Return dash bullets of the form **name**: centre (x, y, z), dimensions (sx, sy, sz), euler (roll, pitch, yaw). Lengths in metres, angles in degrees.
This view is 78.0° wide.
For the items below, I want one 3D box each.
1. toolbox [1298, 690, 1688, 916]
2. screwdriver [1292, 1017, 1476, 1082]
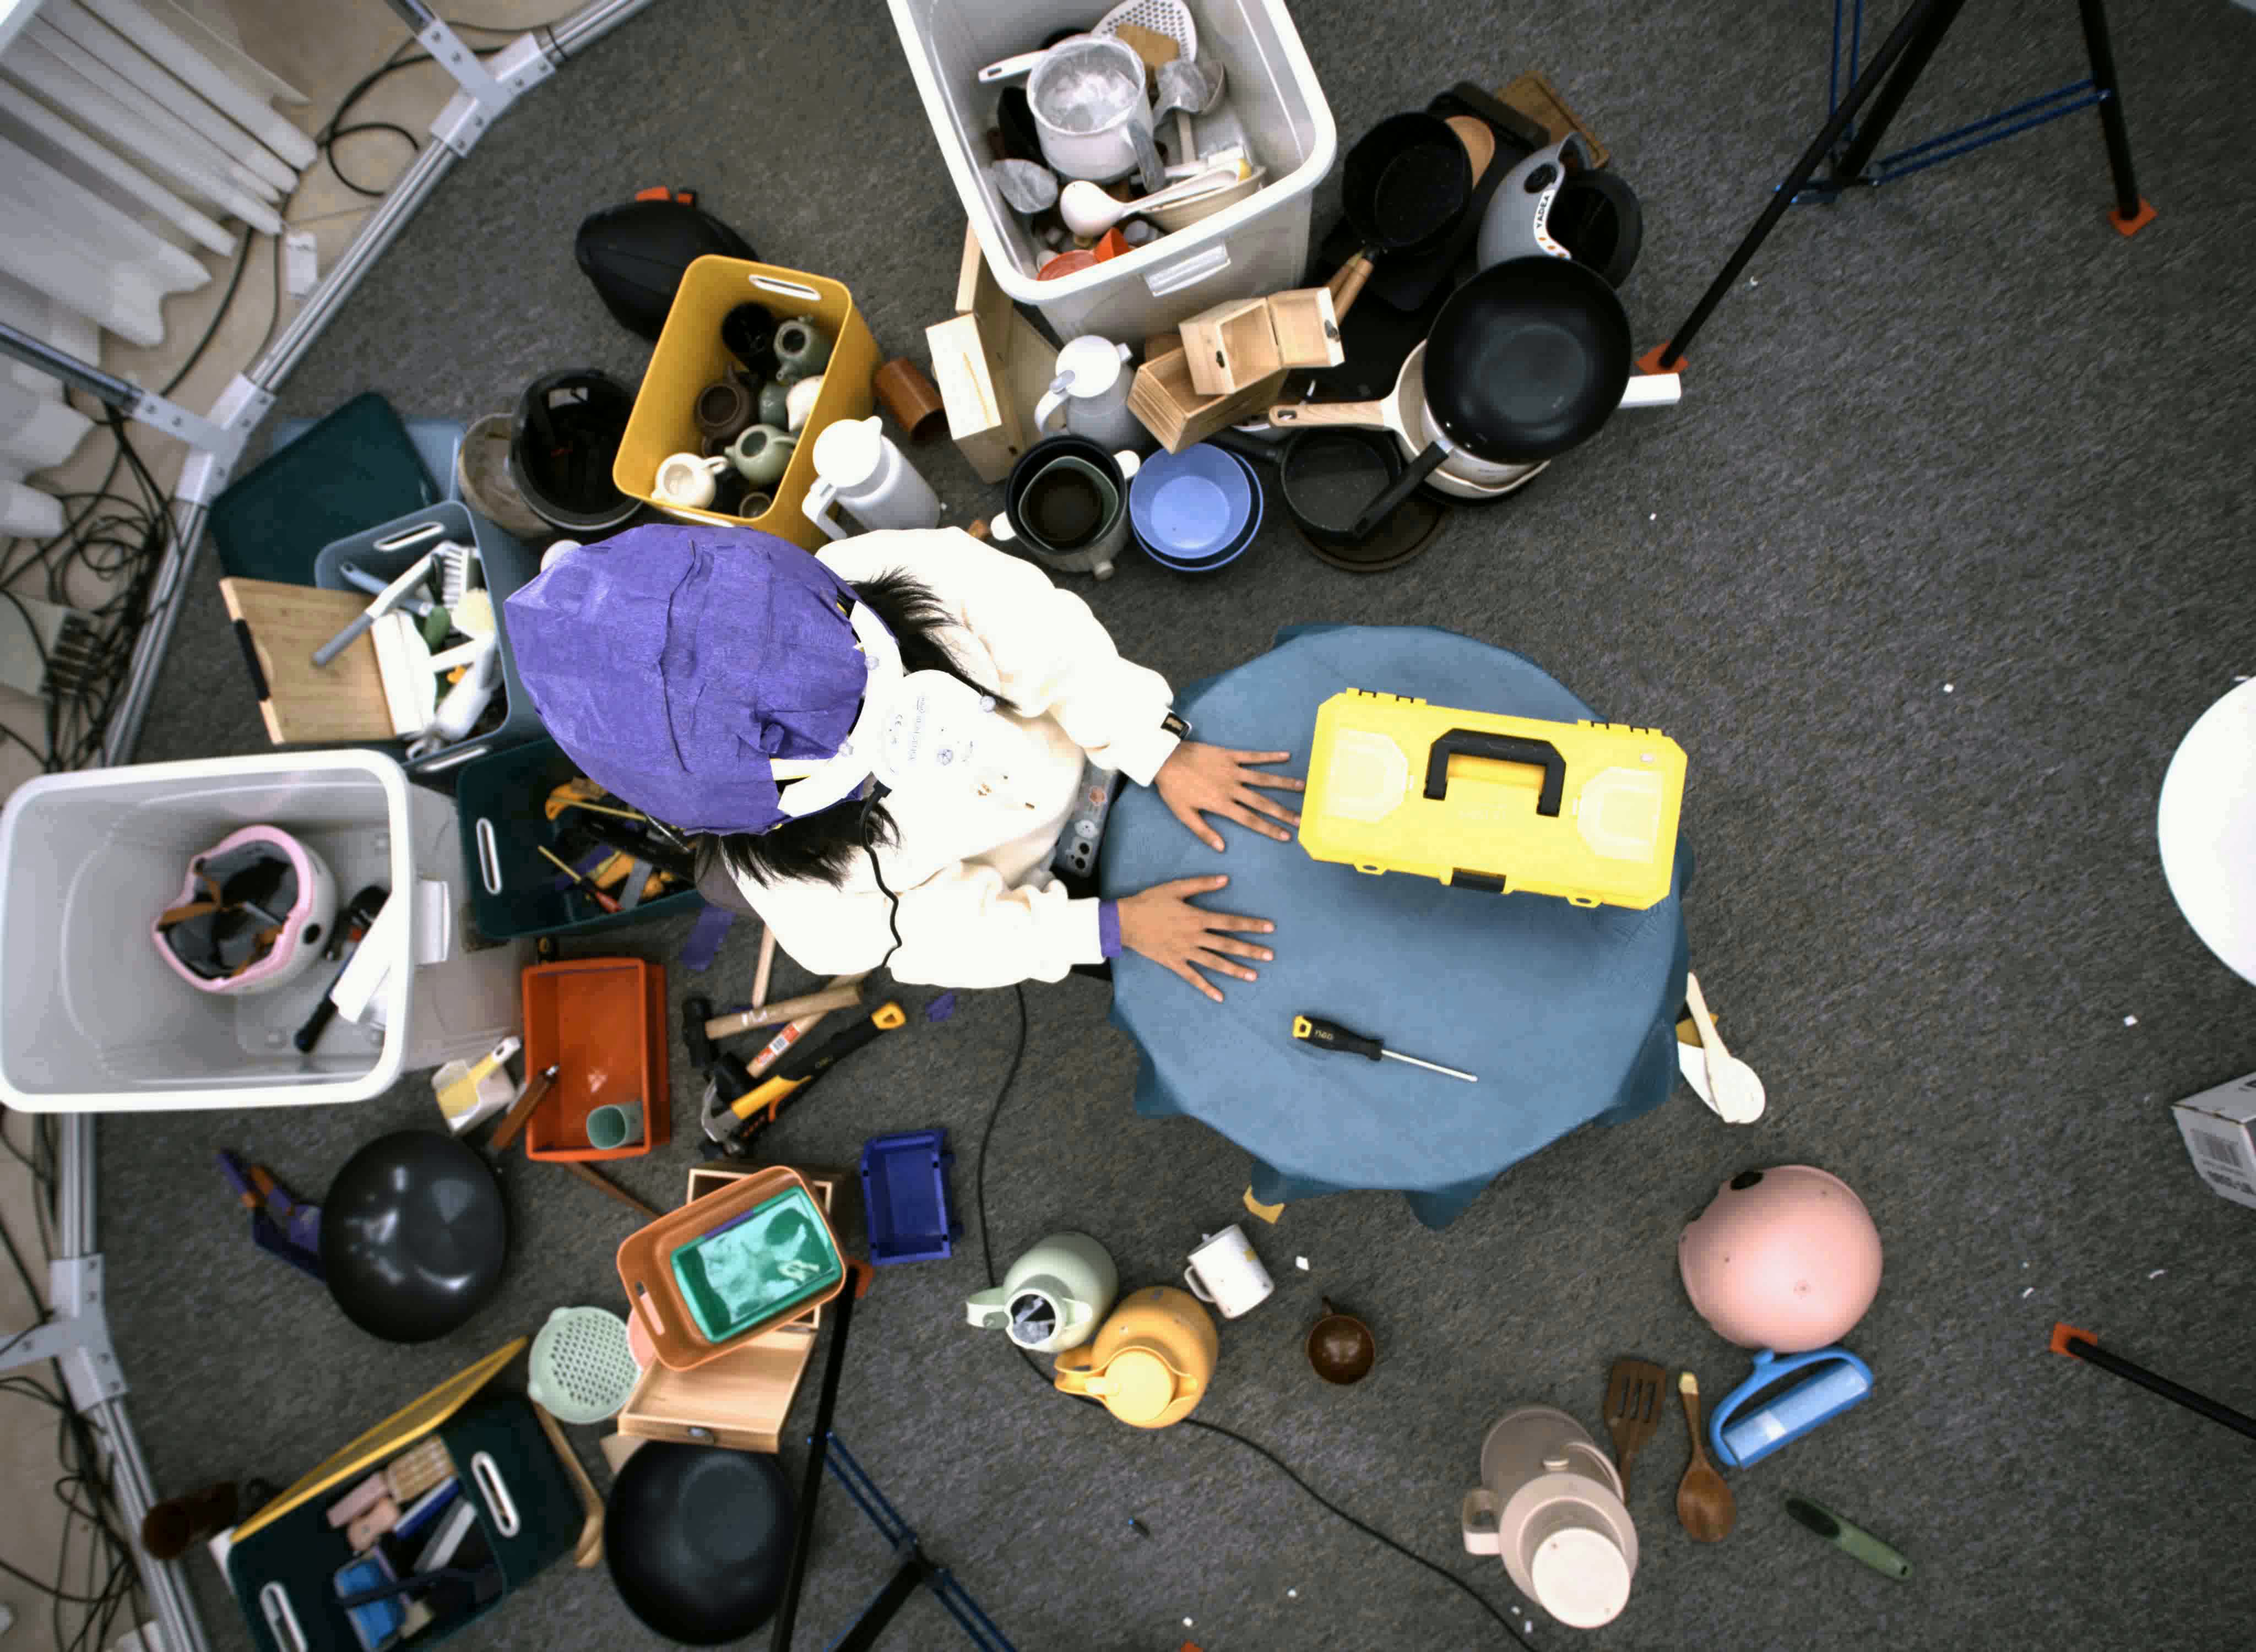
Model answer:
- **toolbox**: centre (0.354, -0.023, 1.362), dimensions (0.352, 0.173, 0.181), euler (9, 87, 11)
- **screwdriver**: centre (0.266, 0.235, 1.436), dimensions (0.196, 0.031, 0.031), euler (16, 88, 10)
